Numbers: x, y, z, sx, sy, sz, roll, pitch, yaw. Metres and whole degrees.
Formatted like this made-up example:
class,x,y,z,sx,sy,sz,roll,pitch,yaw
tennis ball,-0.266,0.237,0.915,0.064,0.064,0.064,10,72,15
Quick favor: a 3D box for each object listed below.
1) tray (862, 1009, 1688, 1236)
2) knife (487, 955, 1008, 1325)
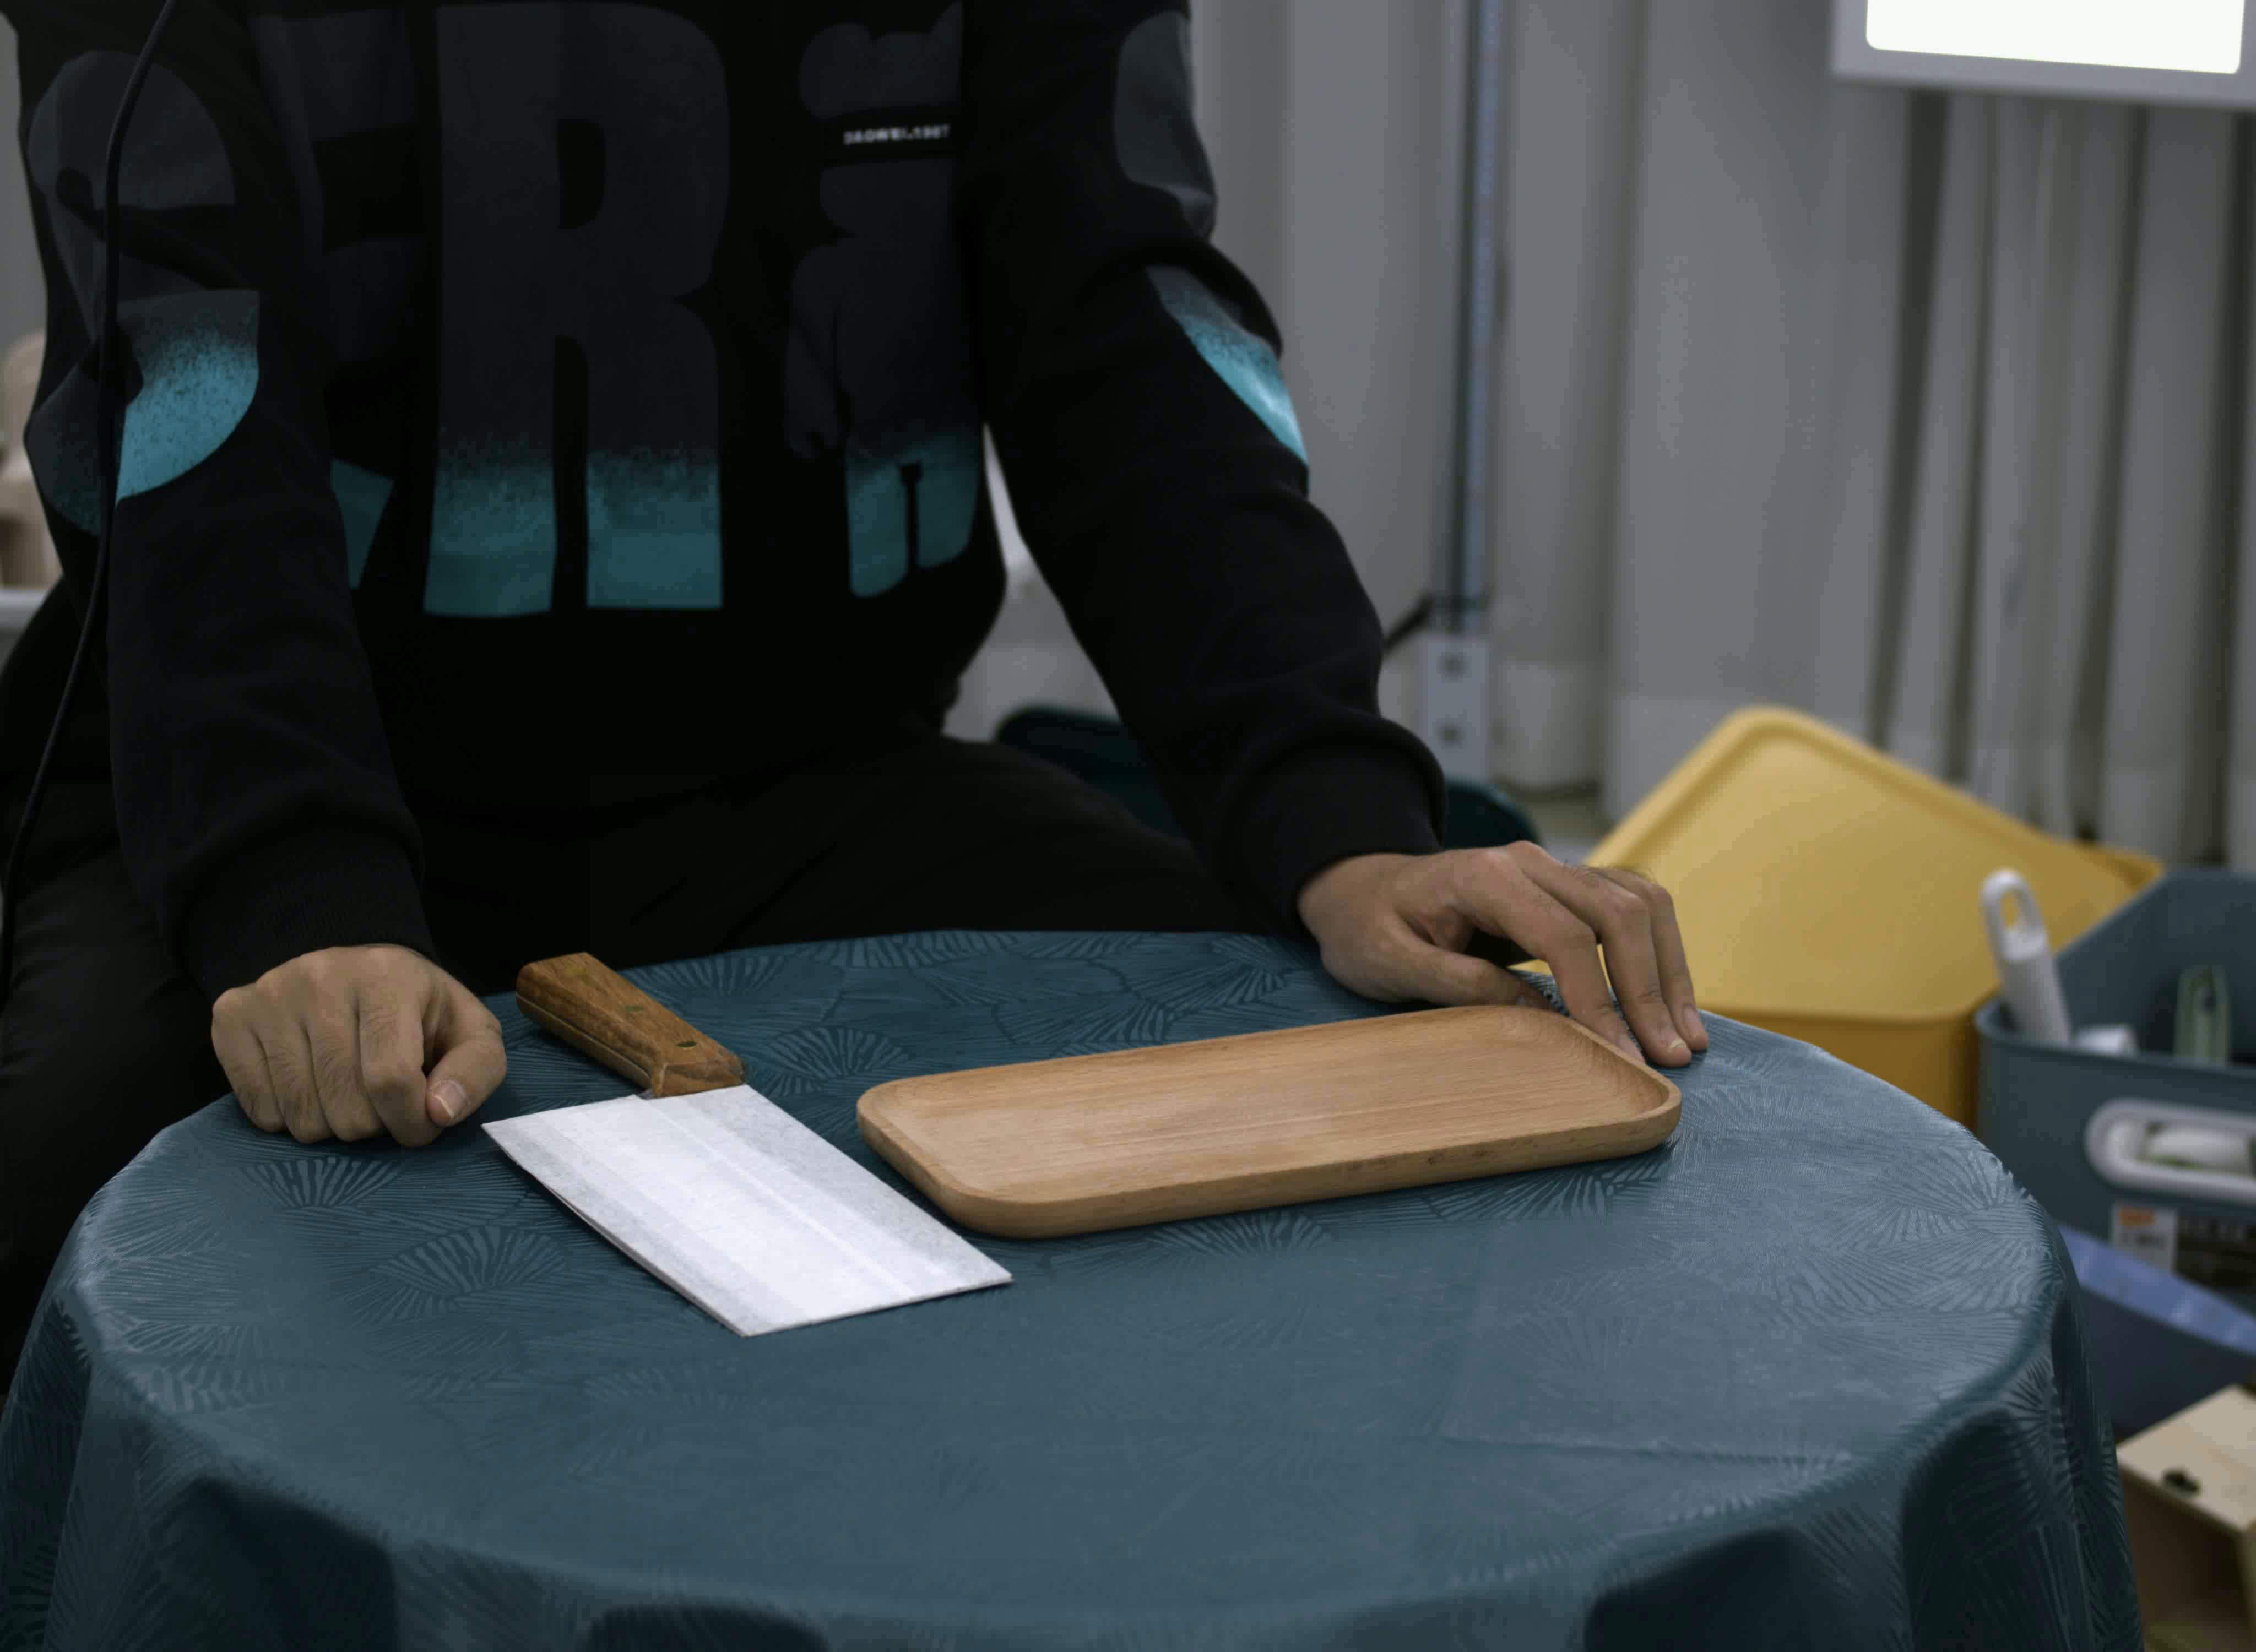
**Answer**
class,x,y,z,sx,sy,sz,roll,pitch,yaw
tray,0.047,0.093,1.666,0.251,0.023,0.129,-5,19,-21
knife,-0.145,0.097,1.644,0.093,0.021,0.302,-10,21,-28
